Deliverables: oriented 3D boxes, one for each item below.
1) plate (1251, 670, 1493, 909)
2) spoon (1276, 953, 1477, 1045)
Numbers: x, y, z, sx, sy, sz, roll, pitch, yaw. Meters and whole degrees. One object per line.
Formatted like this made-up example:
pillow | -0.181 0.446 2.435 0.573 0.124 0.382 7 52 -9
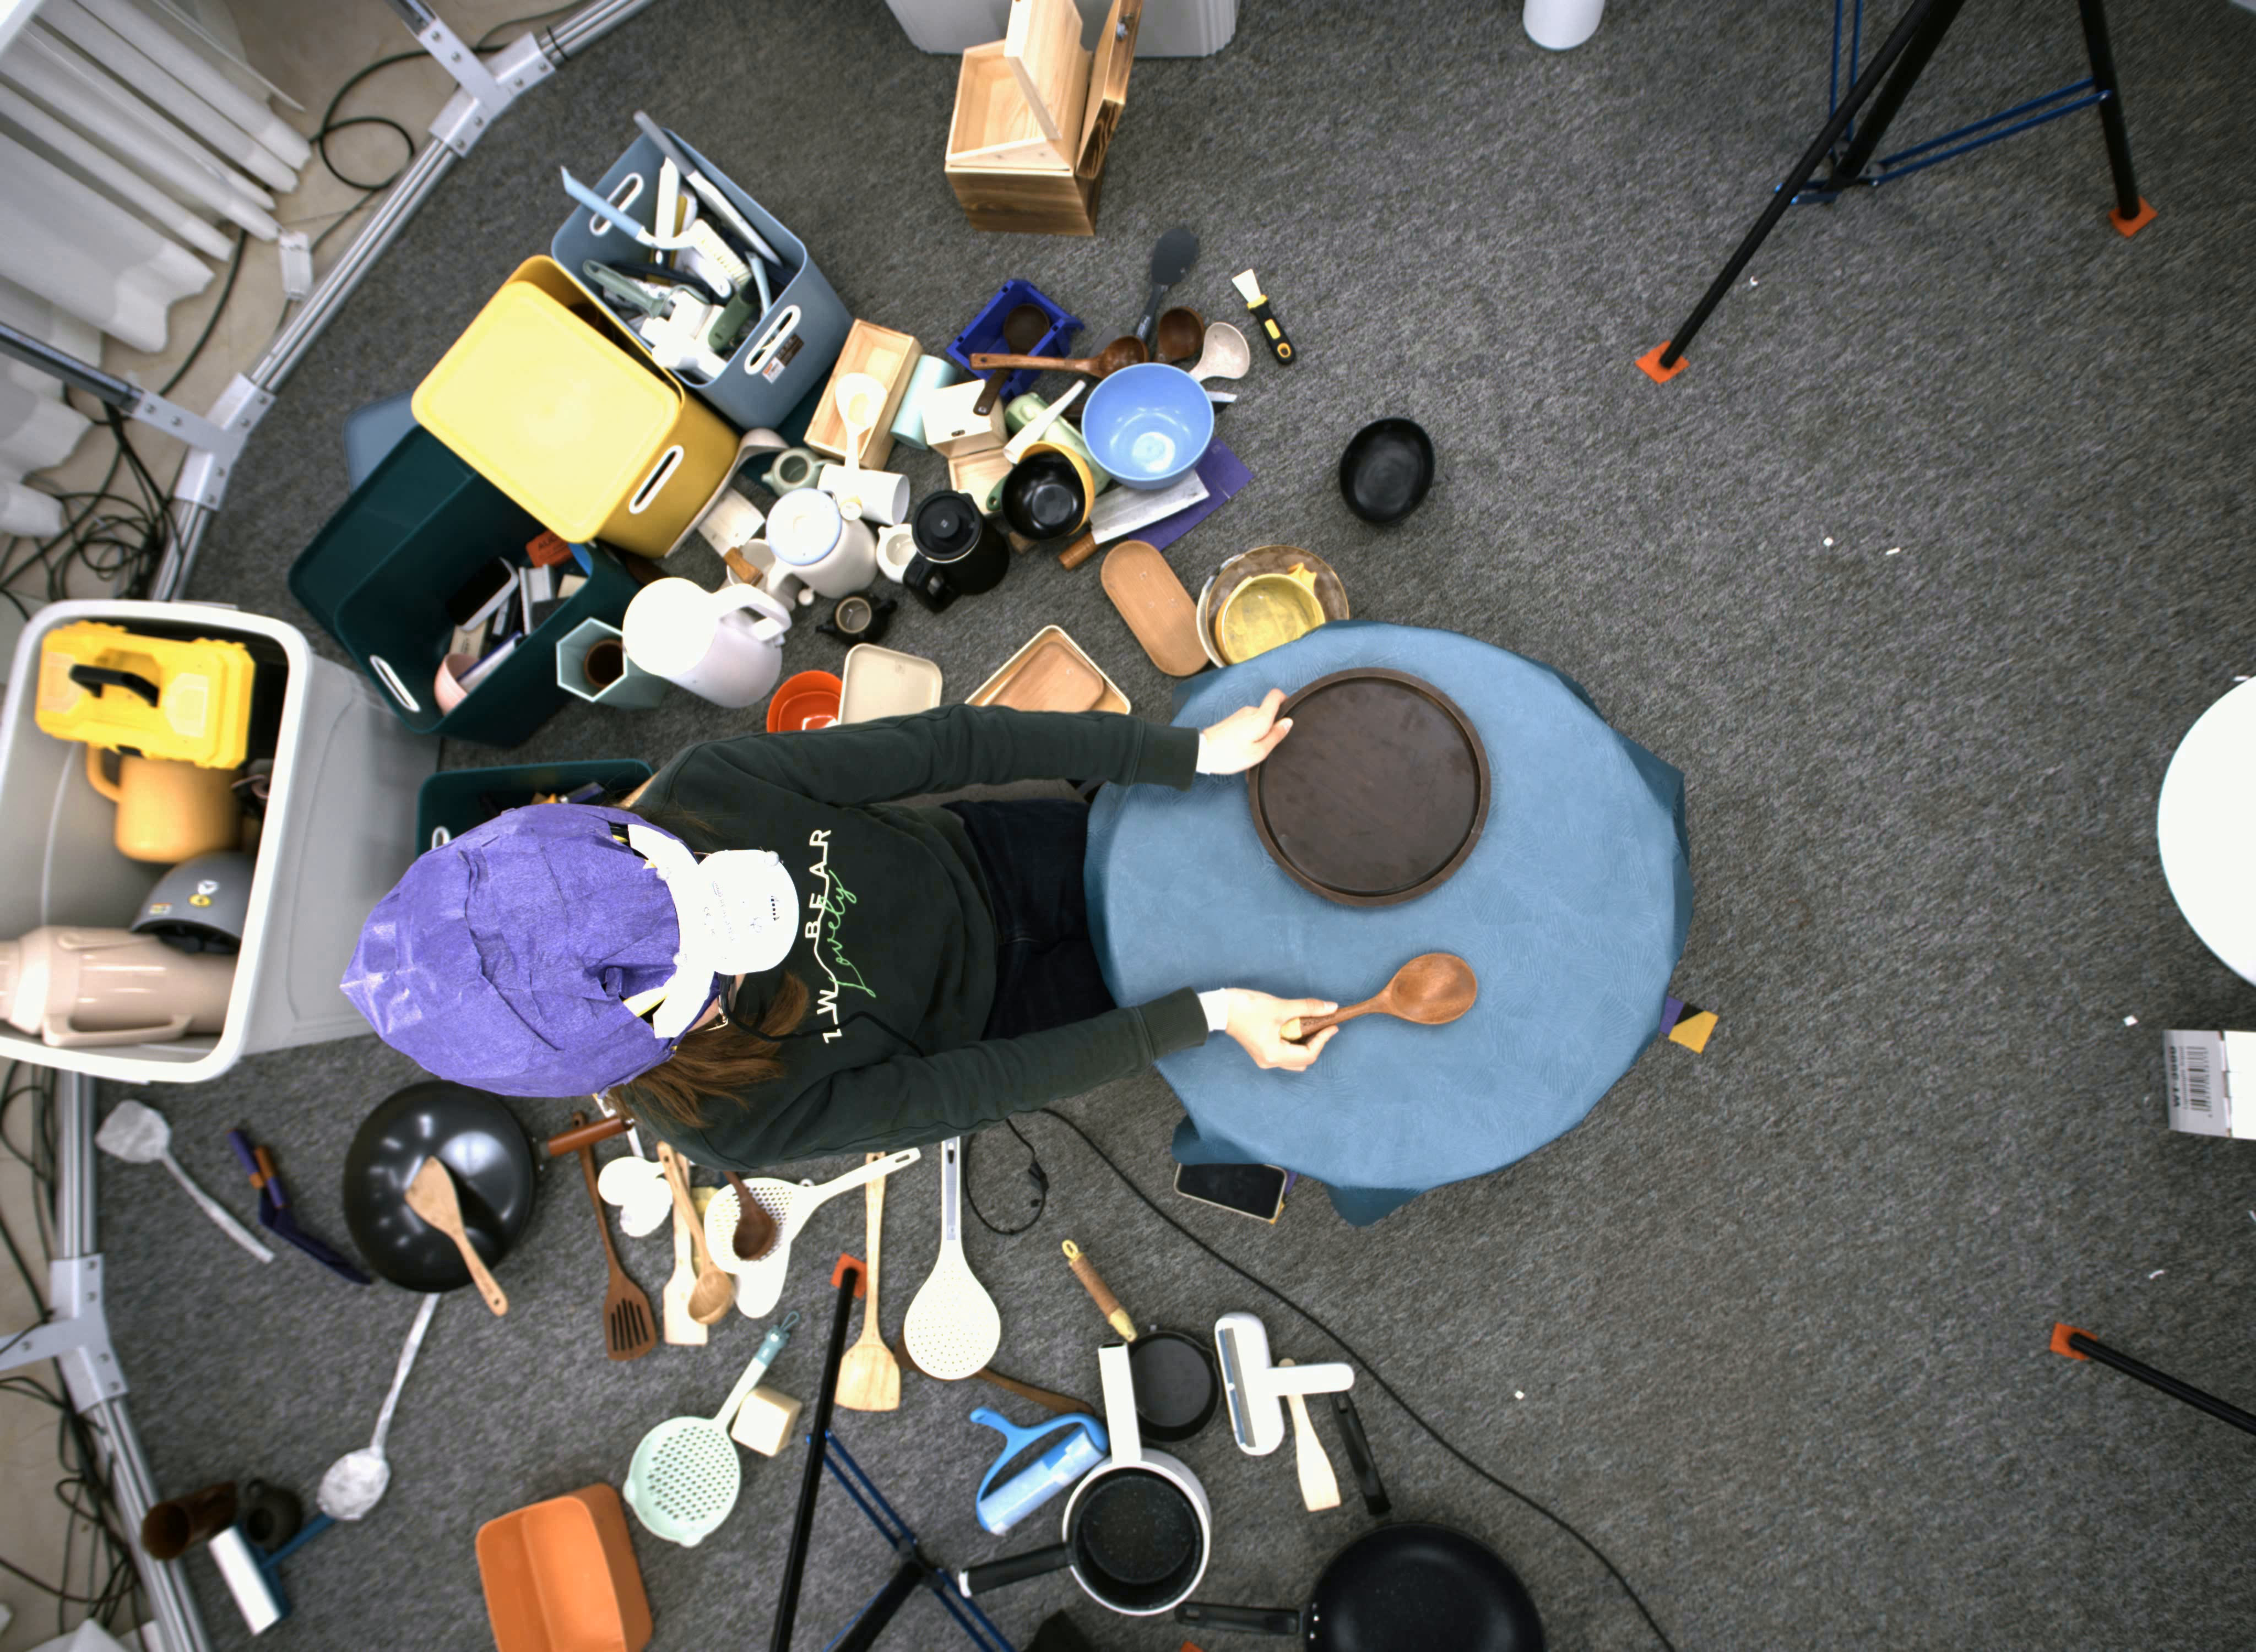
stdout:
plate | 0.256 -0.039 1.455 0.255 0.029 0.254 0 88 6
spoon | 0.258 0.187 1.434 0.216 0.017 0.075 -15 80 -3
